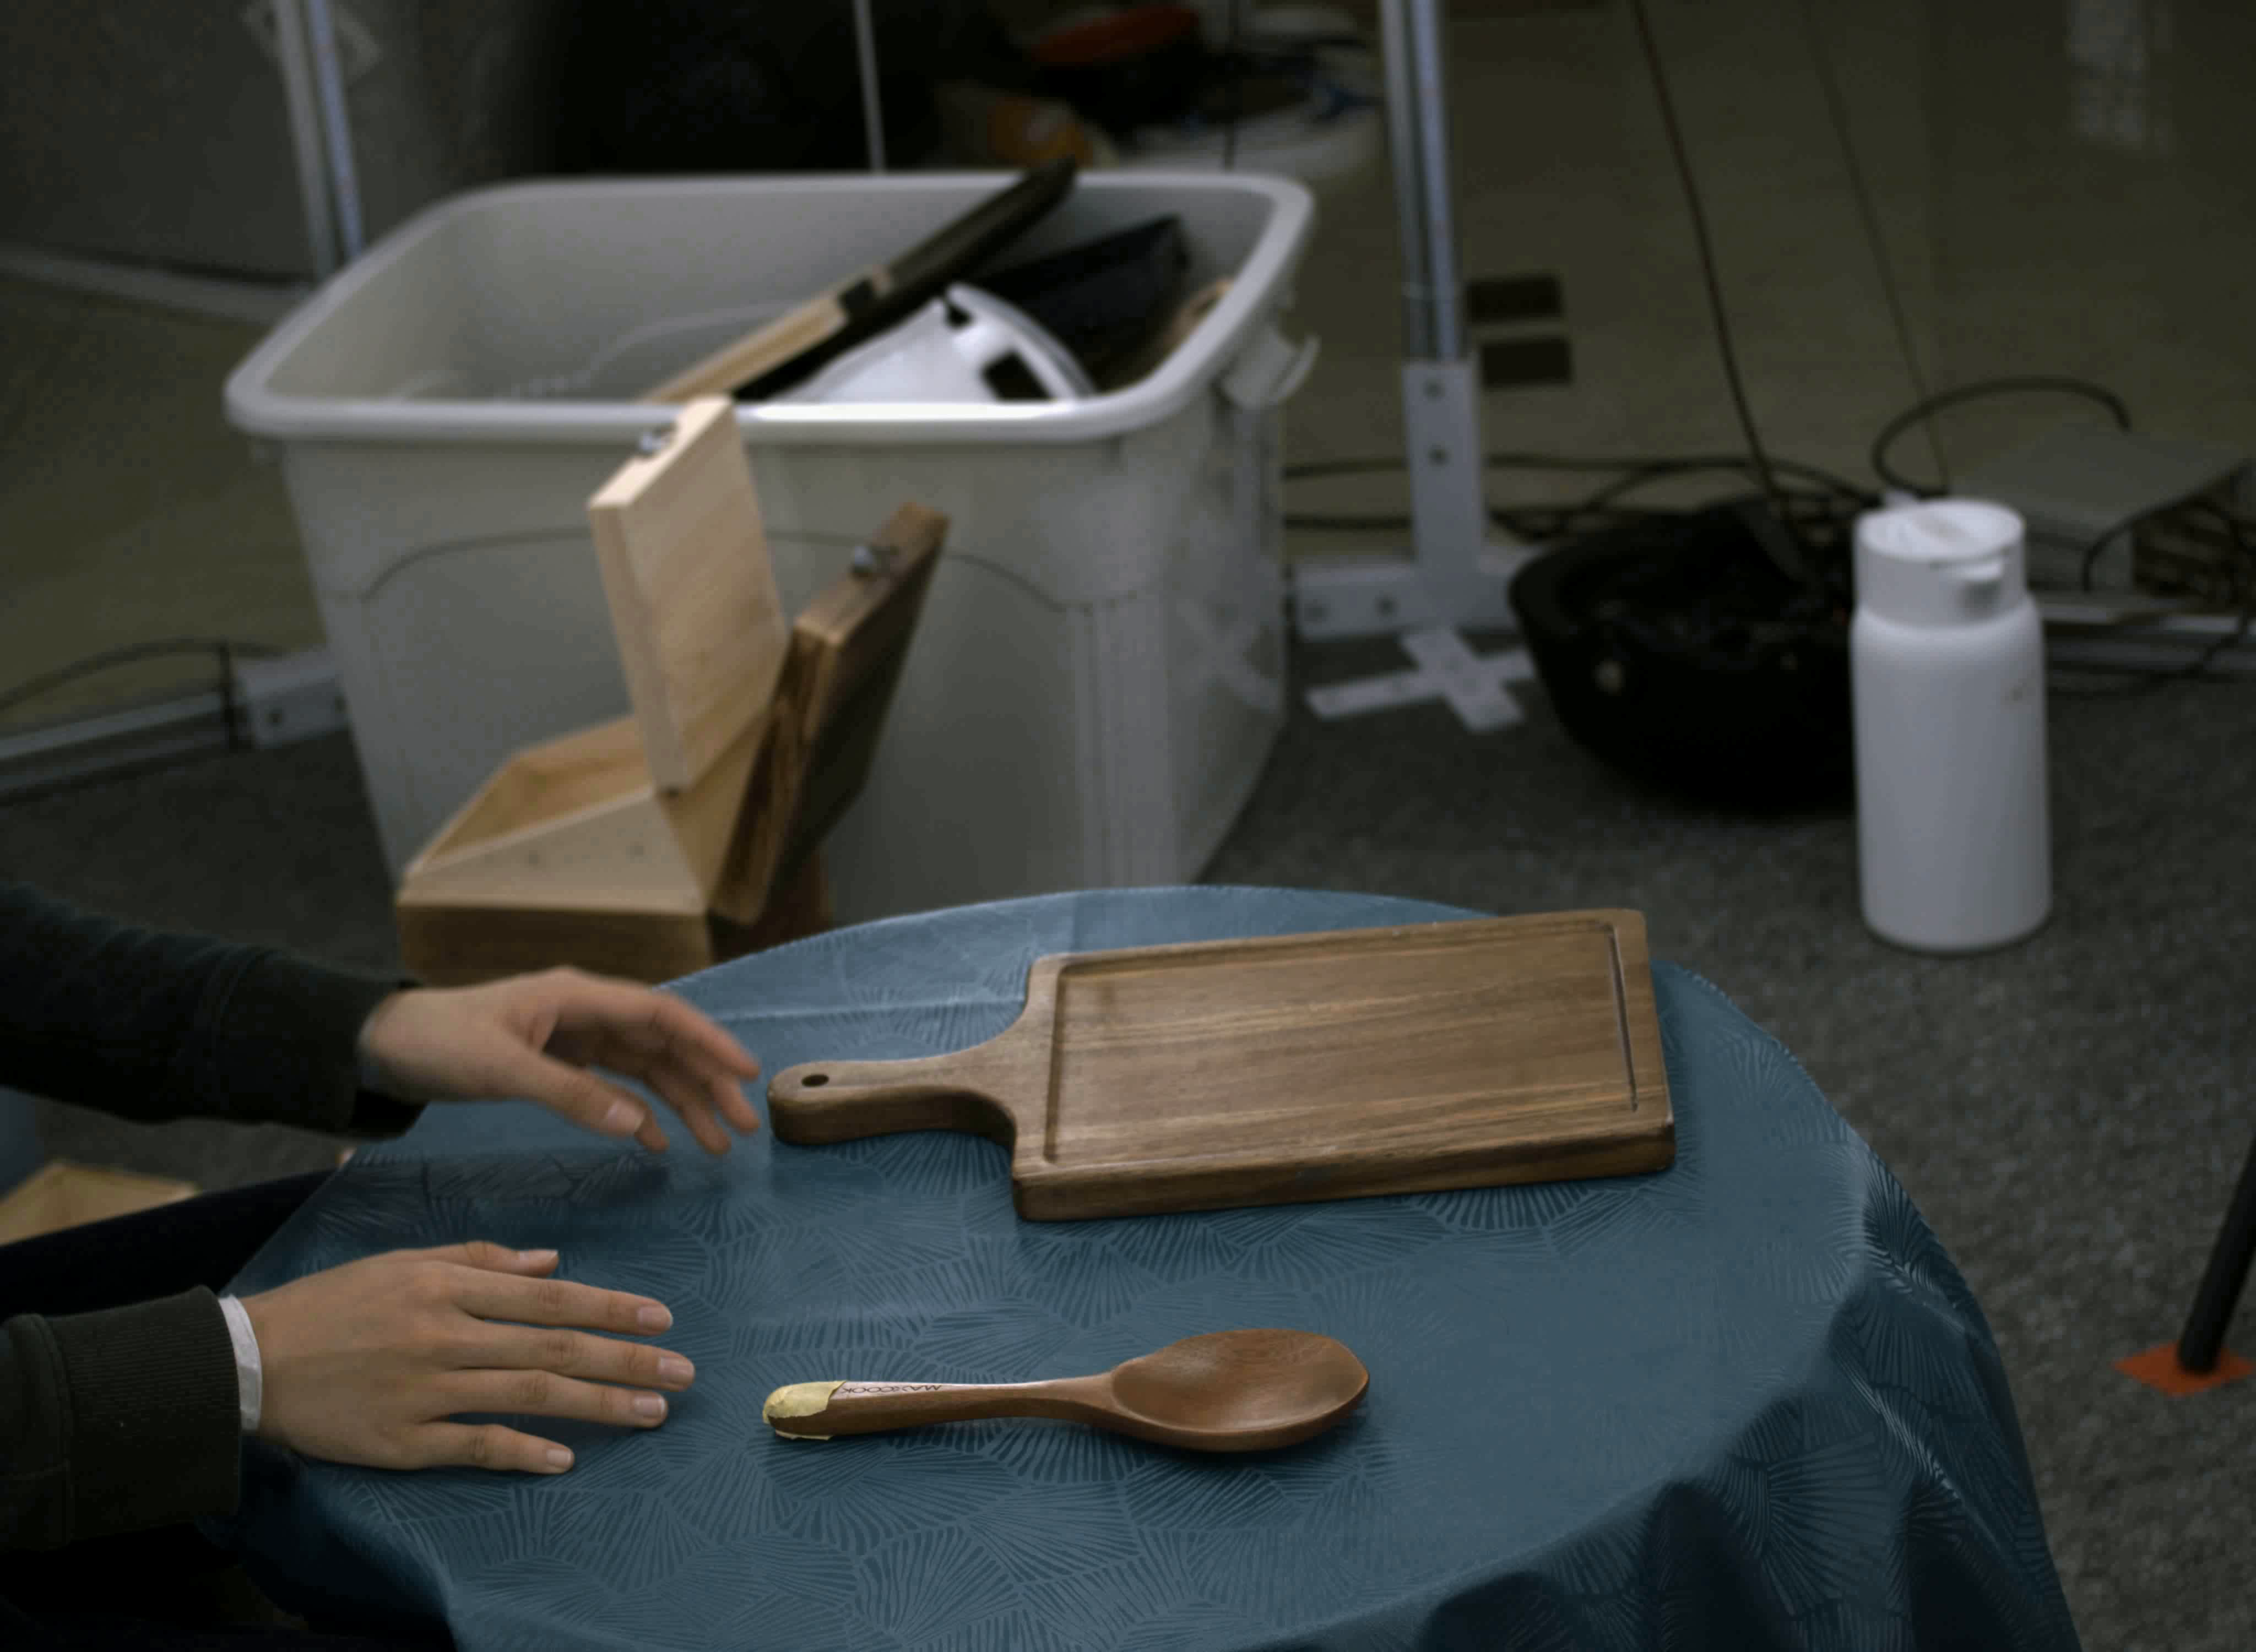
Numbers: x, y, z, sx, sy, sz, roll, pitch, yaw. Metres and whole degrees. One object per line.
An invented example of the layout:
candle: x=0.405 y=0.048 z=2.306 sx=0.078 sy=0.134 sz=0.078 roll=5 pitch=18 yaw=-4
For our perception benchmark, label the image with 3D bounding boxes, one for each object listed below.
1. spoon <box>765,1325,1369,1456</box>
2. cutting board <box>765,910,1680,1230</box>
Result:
spoon: x=-0.022 y=0.202 z=2.001 sx=0.215 sy=0.017 sz=0.074 roll=-2 pitch=27 yaw=9
cutting board: x=0.033 y=0.097 z=2.214 sx=0.351 sy=0.023 sz=0.198 roll=-5 pitch=26 yaw=3
